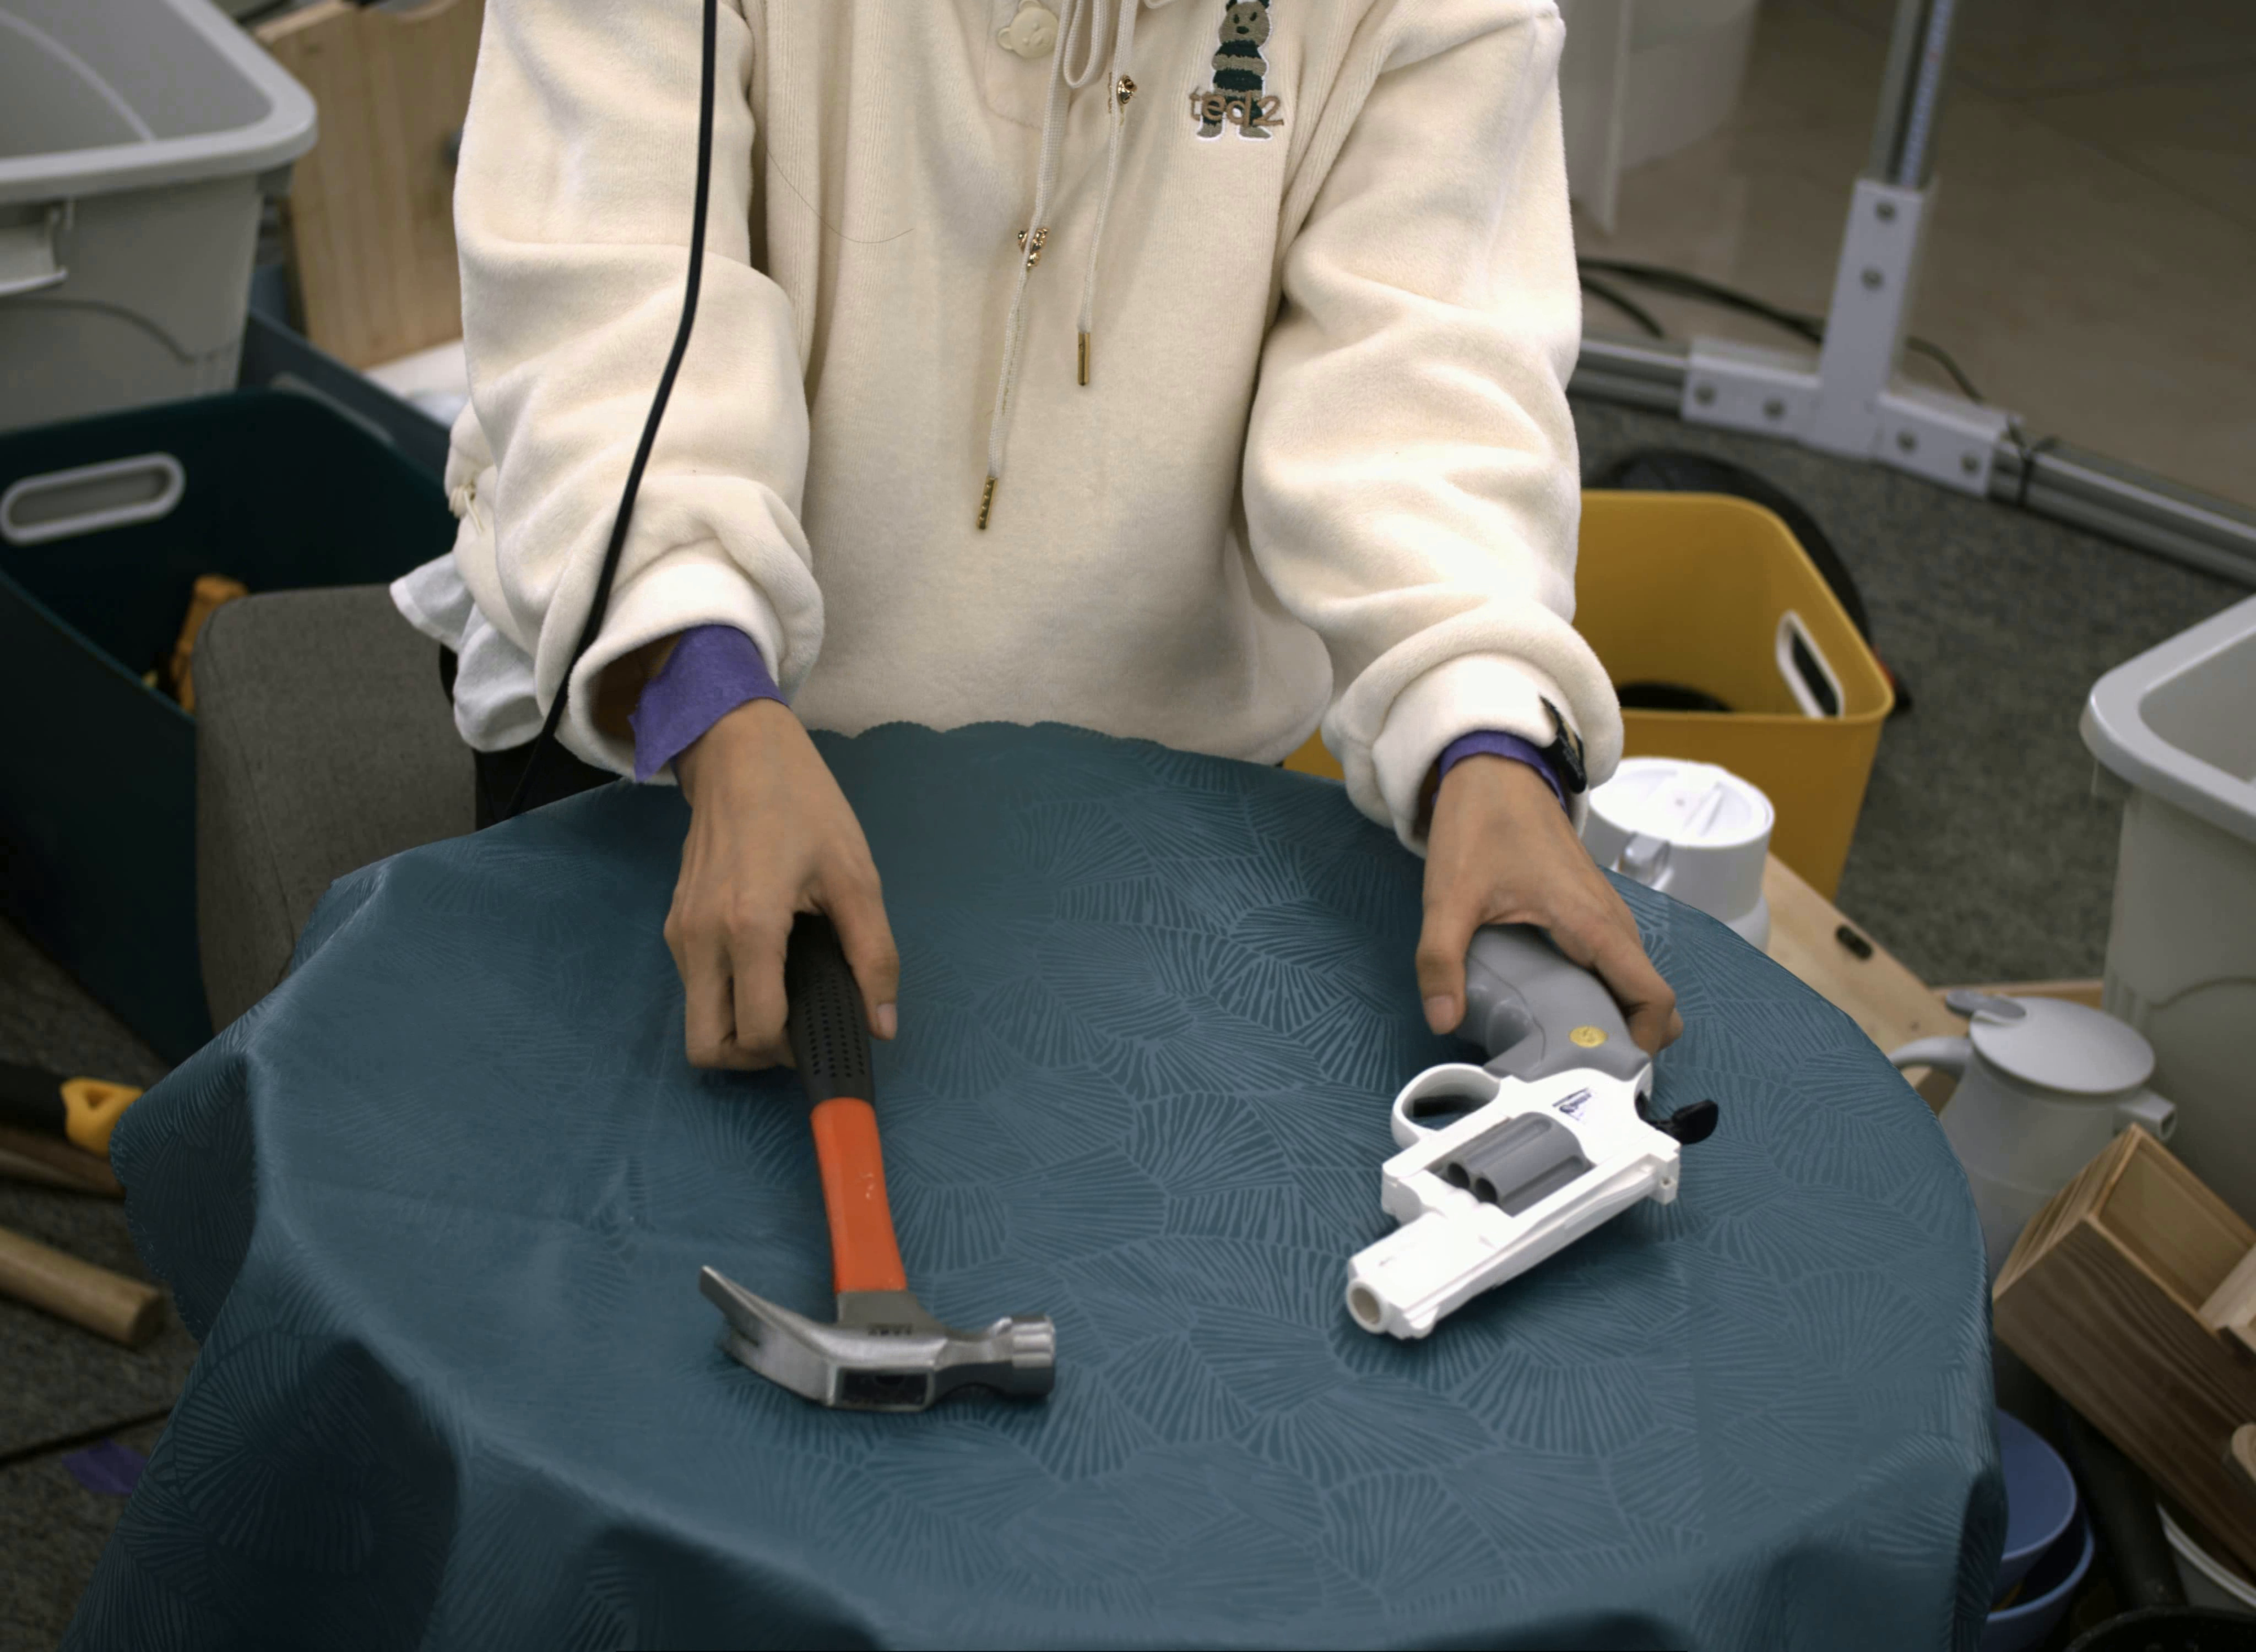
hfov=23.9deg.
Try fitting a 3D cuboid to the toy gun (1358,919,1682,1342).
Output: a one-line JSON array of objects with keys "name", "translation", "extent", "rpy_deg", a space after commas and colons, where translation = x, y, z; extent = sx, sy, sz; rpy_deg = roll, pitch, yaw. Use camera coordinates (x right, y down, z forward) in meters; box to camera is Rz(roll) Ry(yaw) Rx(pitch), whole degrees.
[{"name": "toy gun", "translation": [0.117, 0.103, 1.821], "extent": [0.142, 0.038, 0.208], "rpy_deg": [27, 39, 34]}]

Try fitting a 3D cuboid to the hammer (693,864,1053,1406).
[{"name": "hammer", "translation": [-0.096, 0.097, 1.774], "extent": [0.110, 0.026, 0.280], "rpy_deg": [-8, 34, -4]}]
